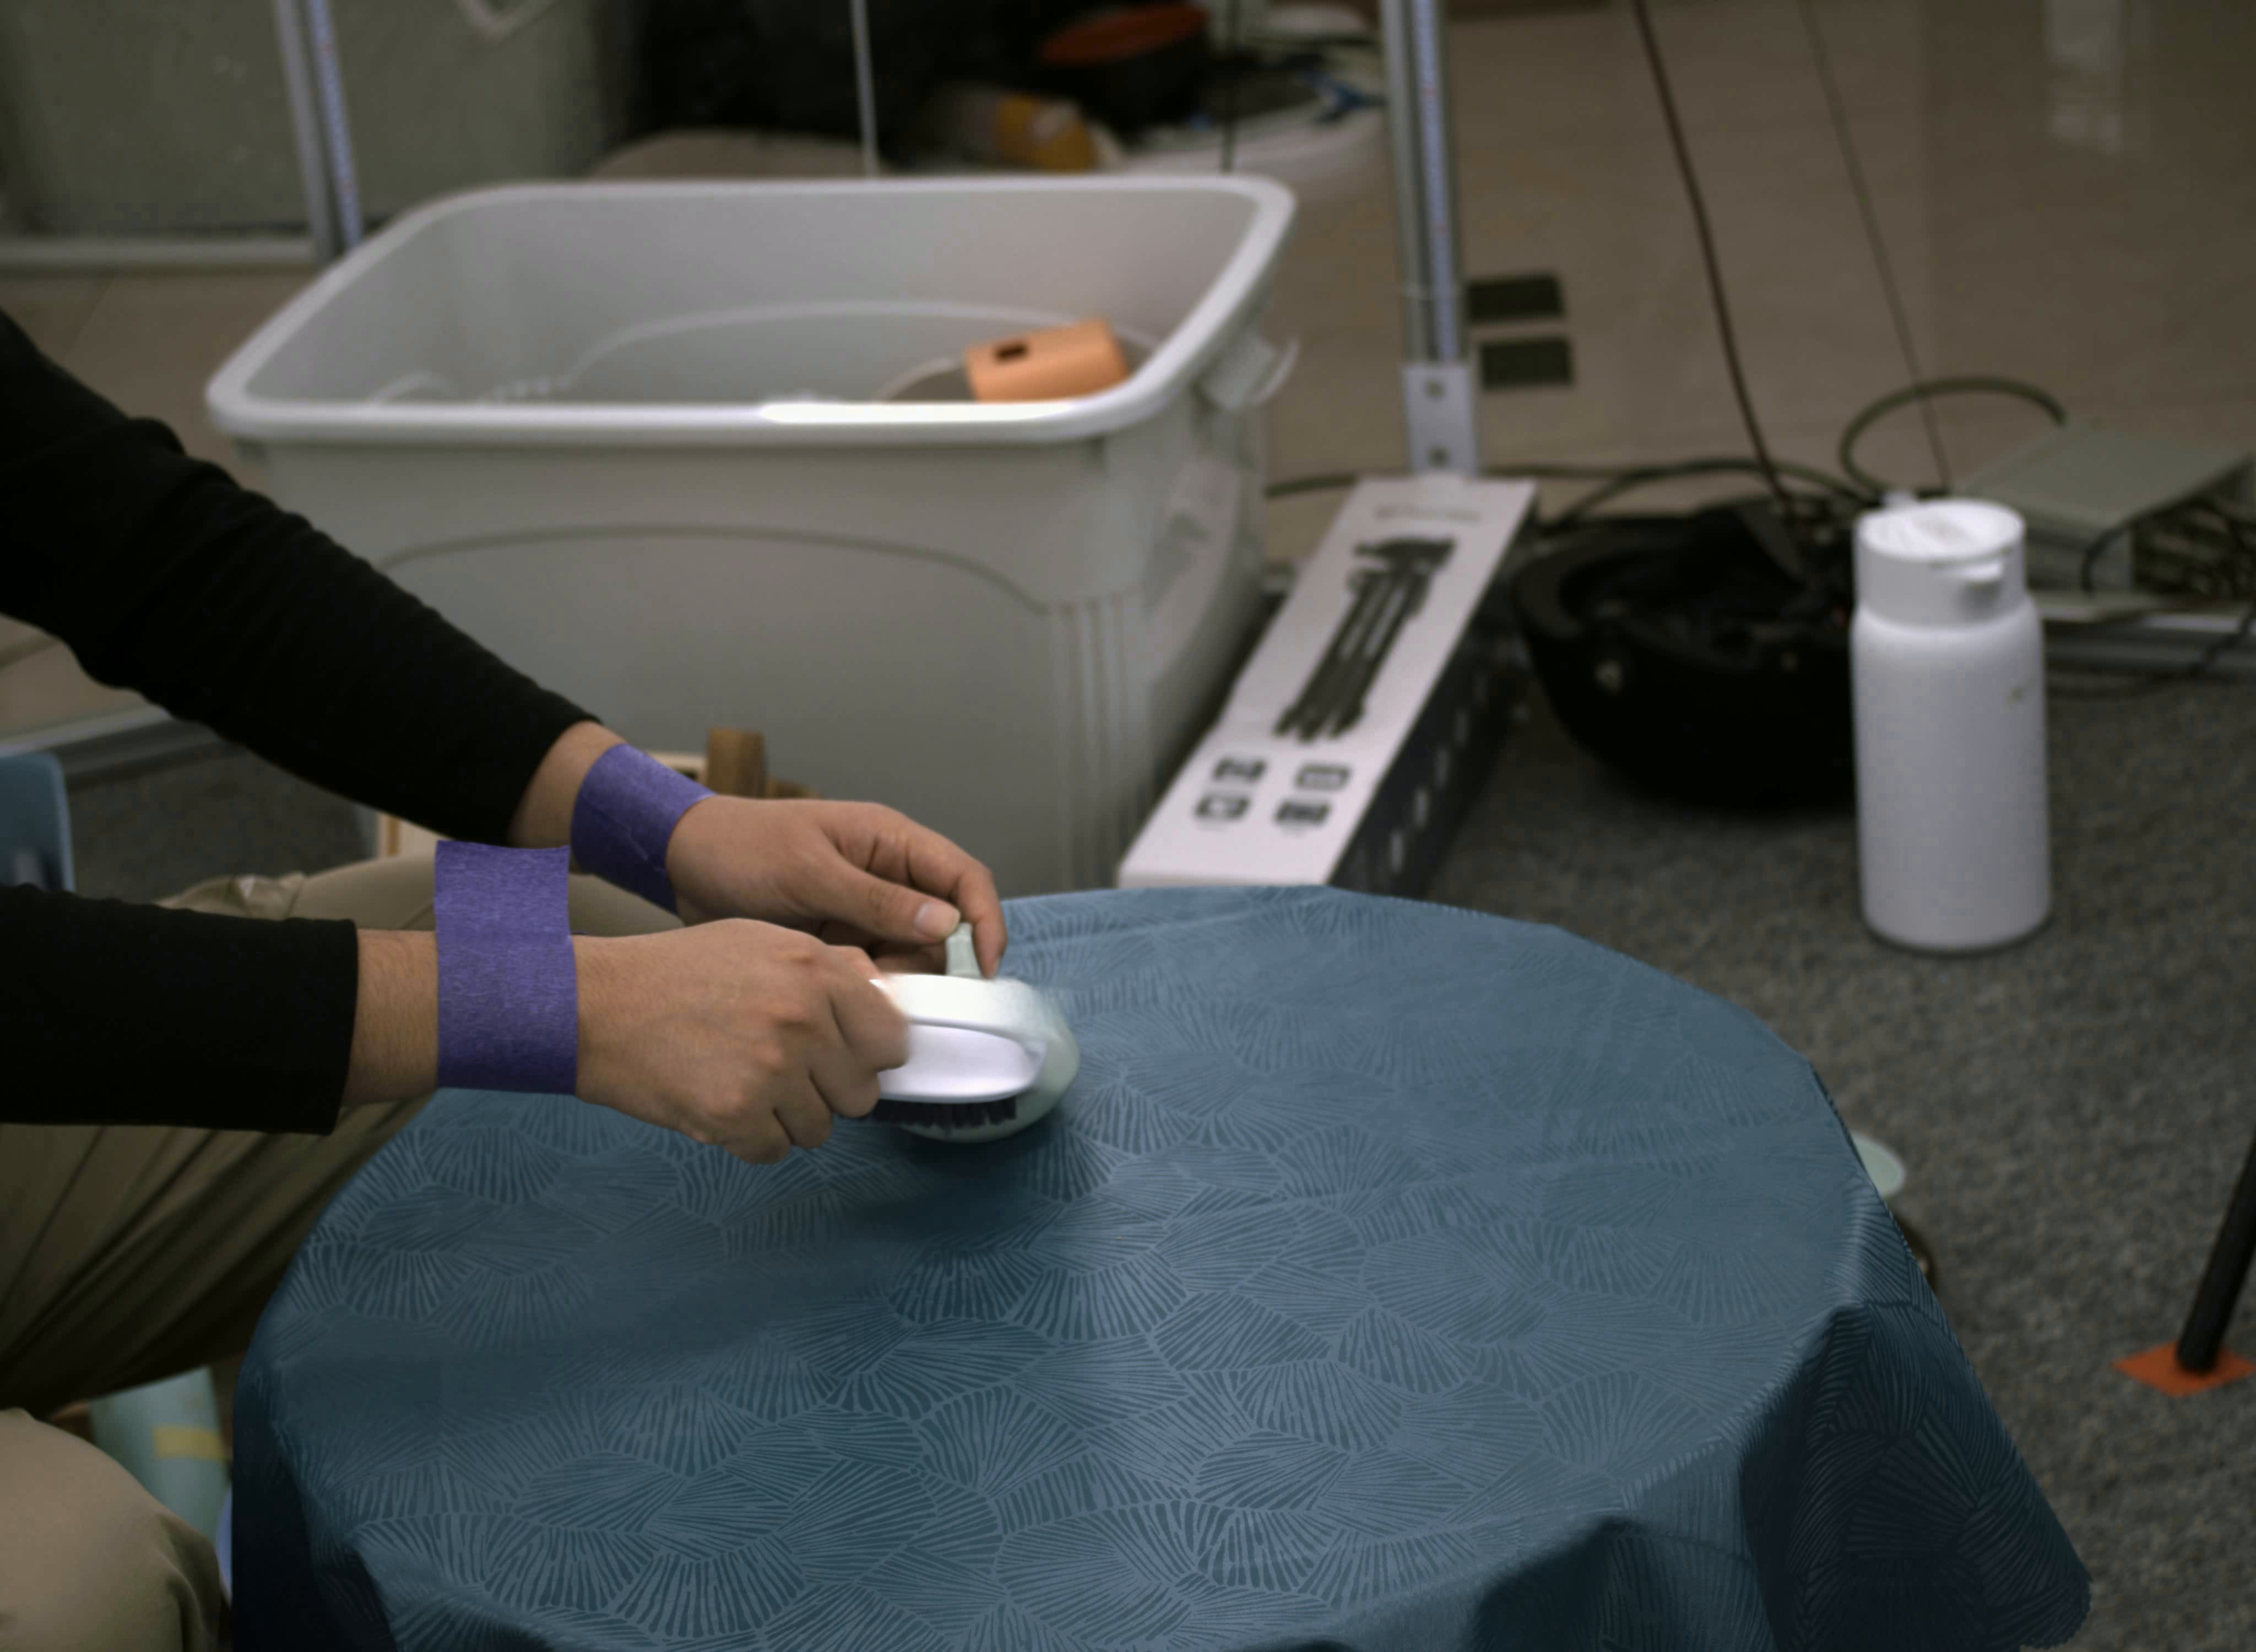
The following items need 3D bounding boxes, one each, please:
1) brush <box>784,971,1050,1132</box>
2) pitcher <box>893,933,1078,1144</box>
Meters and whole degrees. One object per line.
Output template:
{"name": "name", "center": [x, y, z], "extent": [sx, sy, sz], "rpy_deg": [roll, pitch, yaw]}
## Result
{"name": "brush", "center": [-0.077, 0.078, 2.123], "extent": [0.099, 0.073, 0.049], "rpy_deg": [6, 68, -4]}
{"name": "pitcher", "center": [-0.064, 0.084, 2.215], "extent": [0.086, 0.061, 0.106], "rpy_deg": [-6, 21, -1]}
